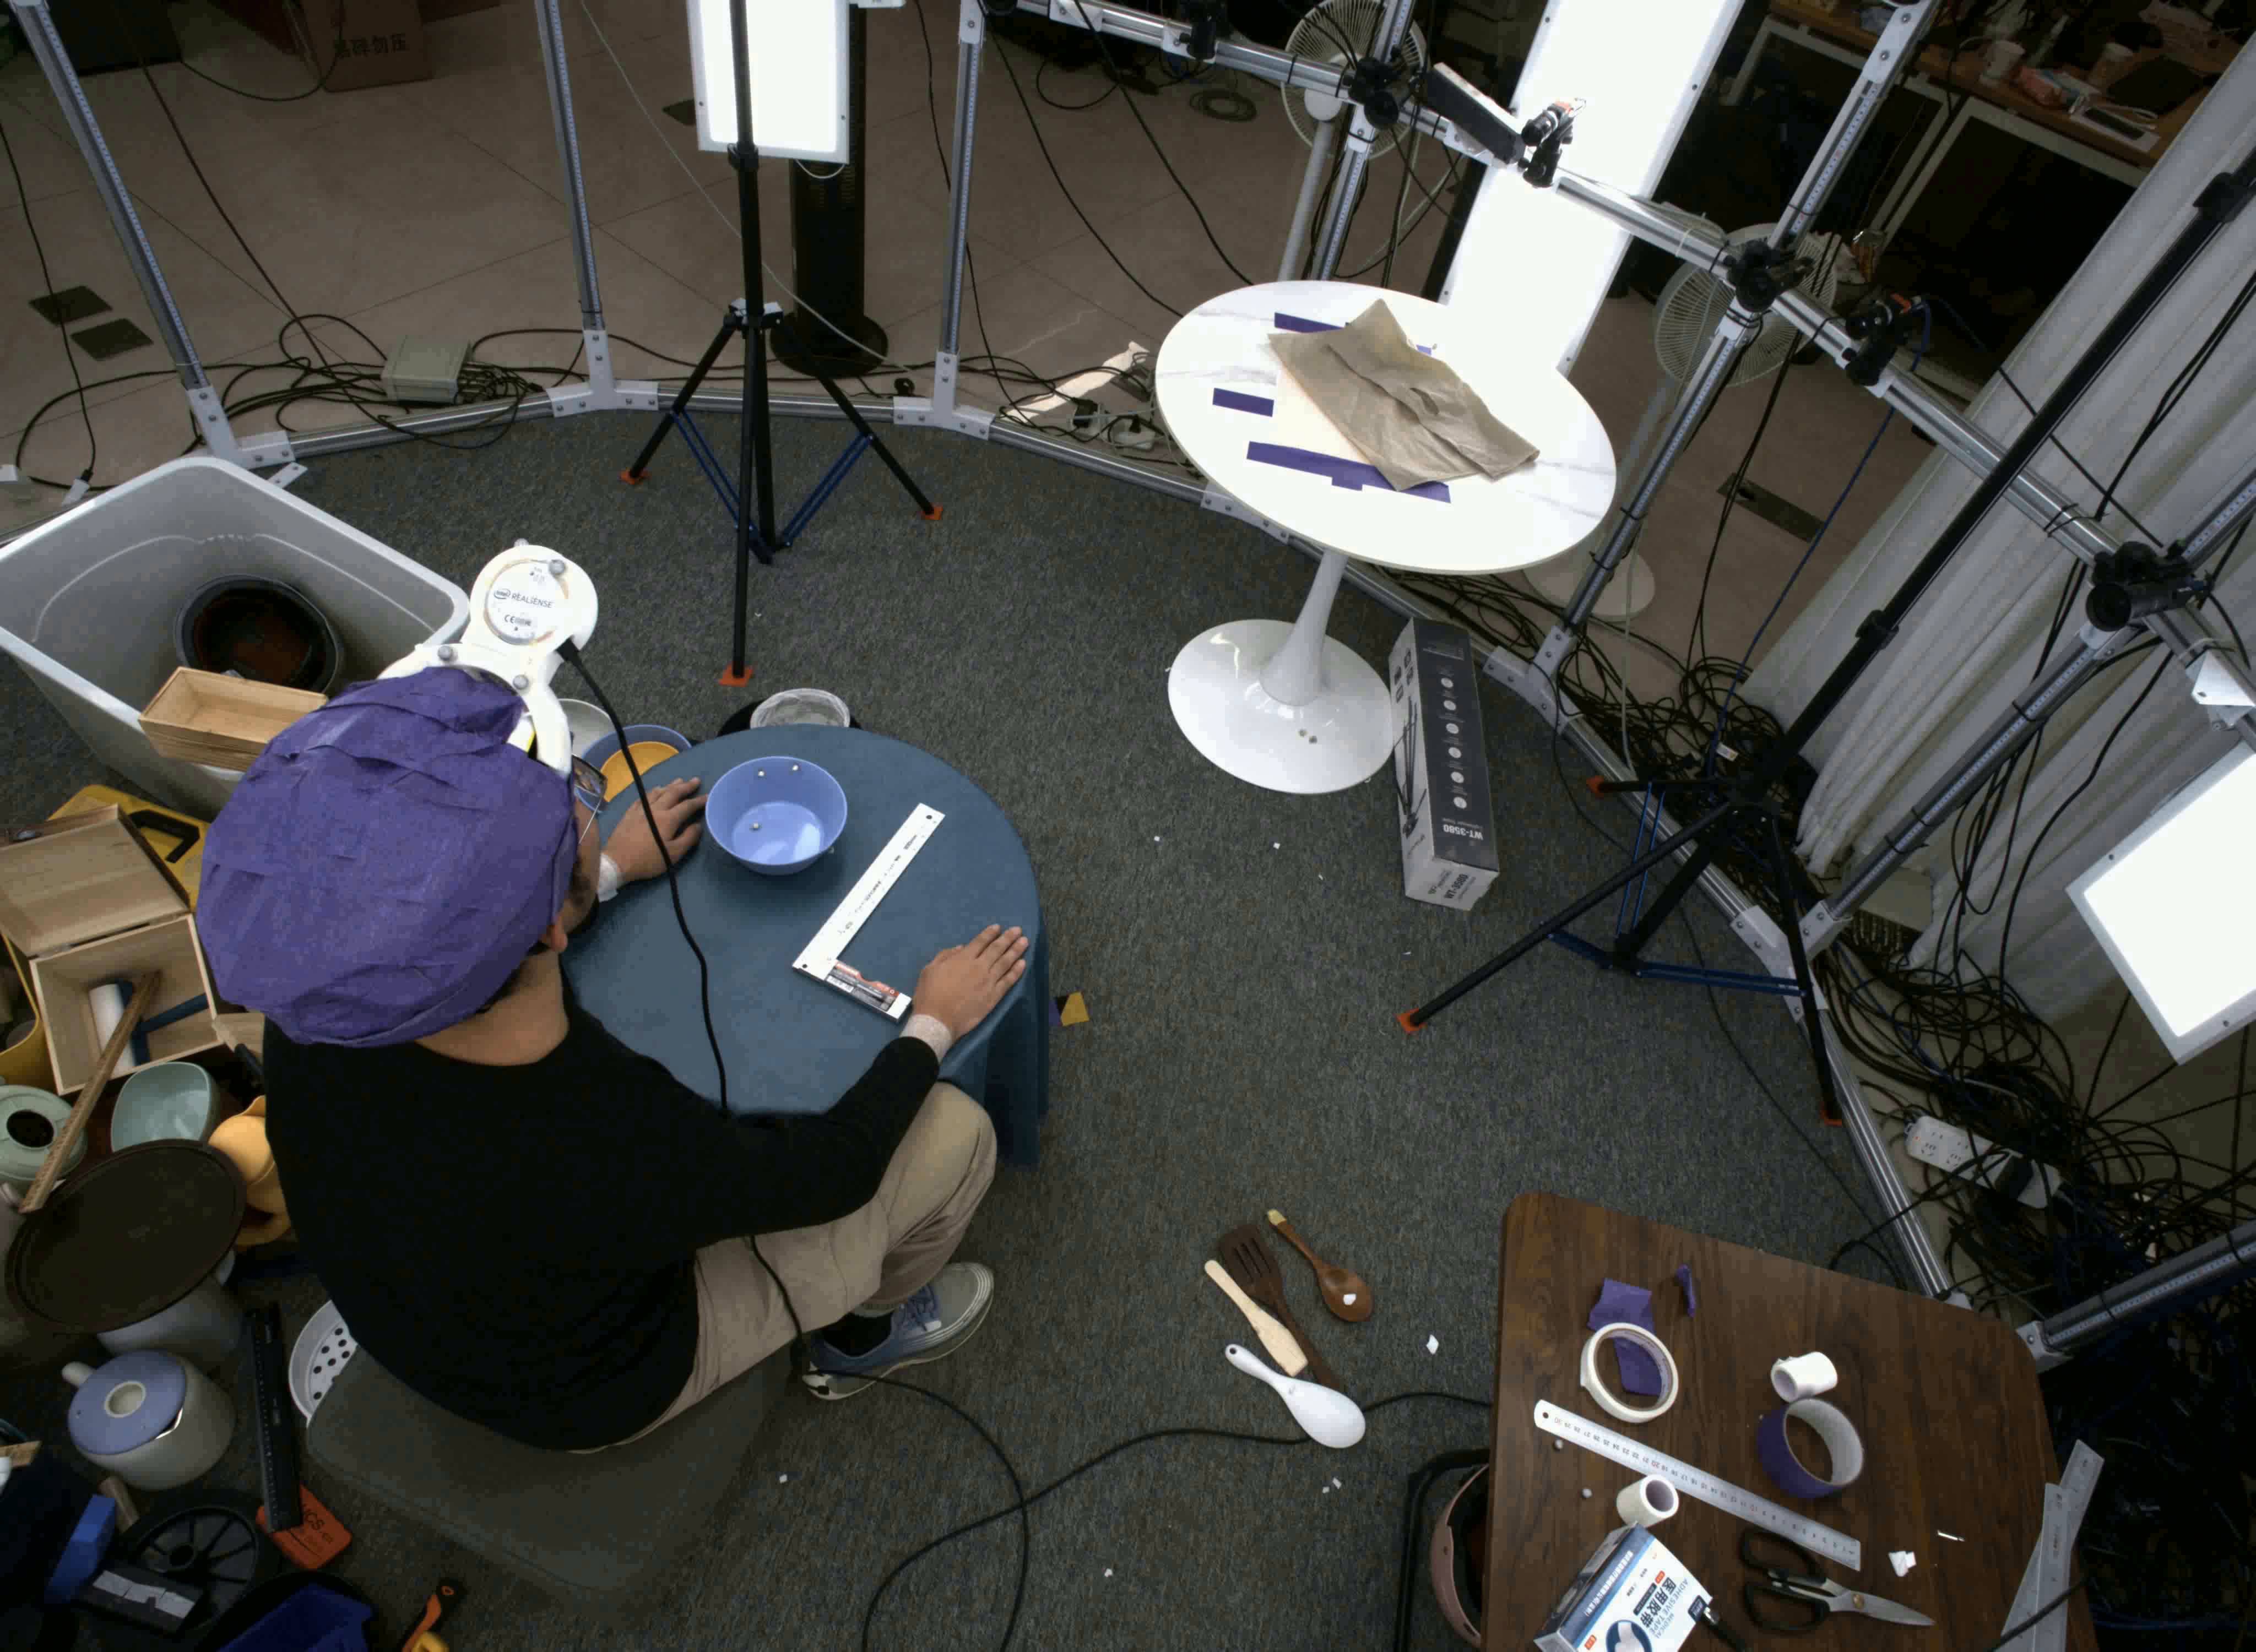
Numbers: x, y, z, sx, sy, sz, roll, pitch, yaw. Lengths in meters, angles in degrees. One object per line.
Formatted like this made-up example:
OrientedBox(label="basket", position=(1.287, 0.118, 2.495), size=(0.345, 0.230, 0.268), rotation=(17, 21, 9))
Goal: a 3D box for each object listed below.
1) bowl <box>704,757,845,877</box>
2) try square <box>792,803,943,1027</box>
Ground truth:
OrientedBox(label="bowl", position=(-0.453, -0.003, 1.668), size=(0.176, 0.071, 0.173), rotation=(8, 52, -9))
OrientedBox(label="try square", position=(-0.285, 0.104, 1.676), size=(0.151, 0.016, 0.311), rotation=(29, 51, 3))
